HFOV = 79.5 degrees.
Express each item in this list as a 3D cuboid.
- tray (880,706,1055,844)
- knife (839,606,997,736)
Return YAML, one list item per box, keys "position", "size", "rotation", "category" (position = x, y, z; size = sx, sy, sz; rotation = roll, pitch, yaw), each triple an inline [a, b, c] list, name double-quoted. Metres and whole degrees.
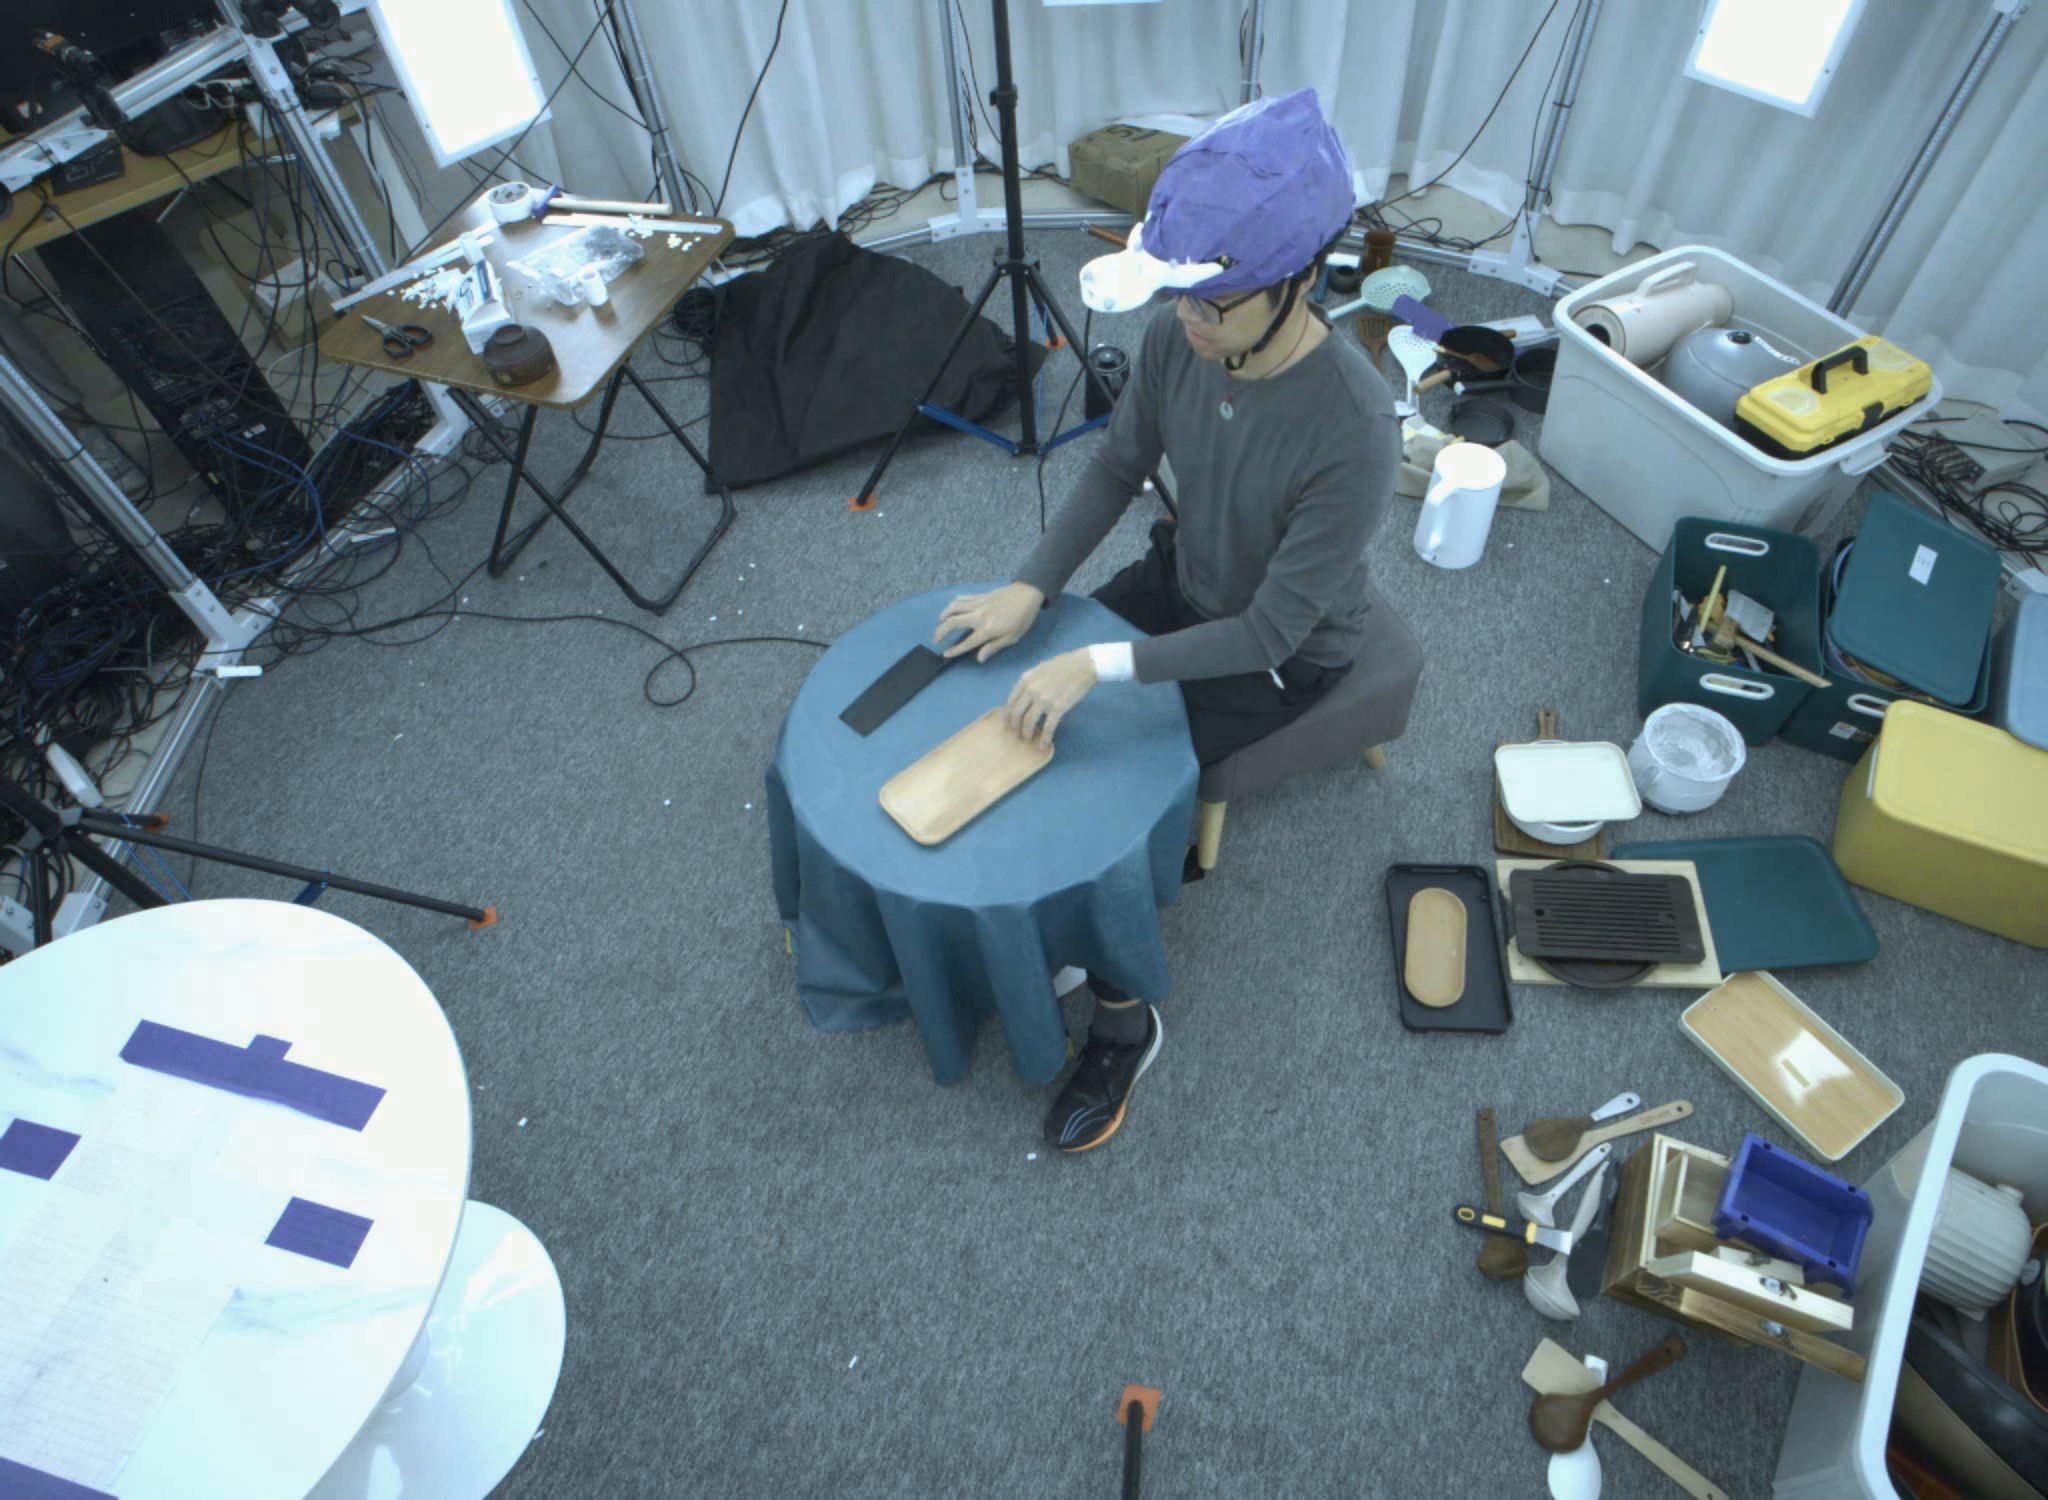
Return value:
- position: [-0.079, 0.034, 1.763]
  size: [0.253, 0.023, 0.128]
  rotation: [-35, 63, -23]
  category: "tray"
- position: [-0.156, -0.128, 1.883]
  size: [0.304, 0.021, 0.079]
  rotation: [-40, 63, -22]
  category: "knife"
